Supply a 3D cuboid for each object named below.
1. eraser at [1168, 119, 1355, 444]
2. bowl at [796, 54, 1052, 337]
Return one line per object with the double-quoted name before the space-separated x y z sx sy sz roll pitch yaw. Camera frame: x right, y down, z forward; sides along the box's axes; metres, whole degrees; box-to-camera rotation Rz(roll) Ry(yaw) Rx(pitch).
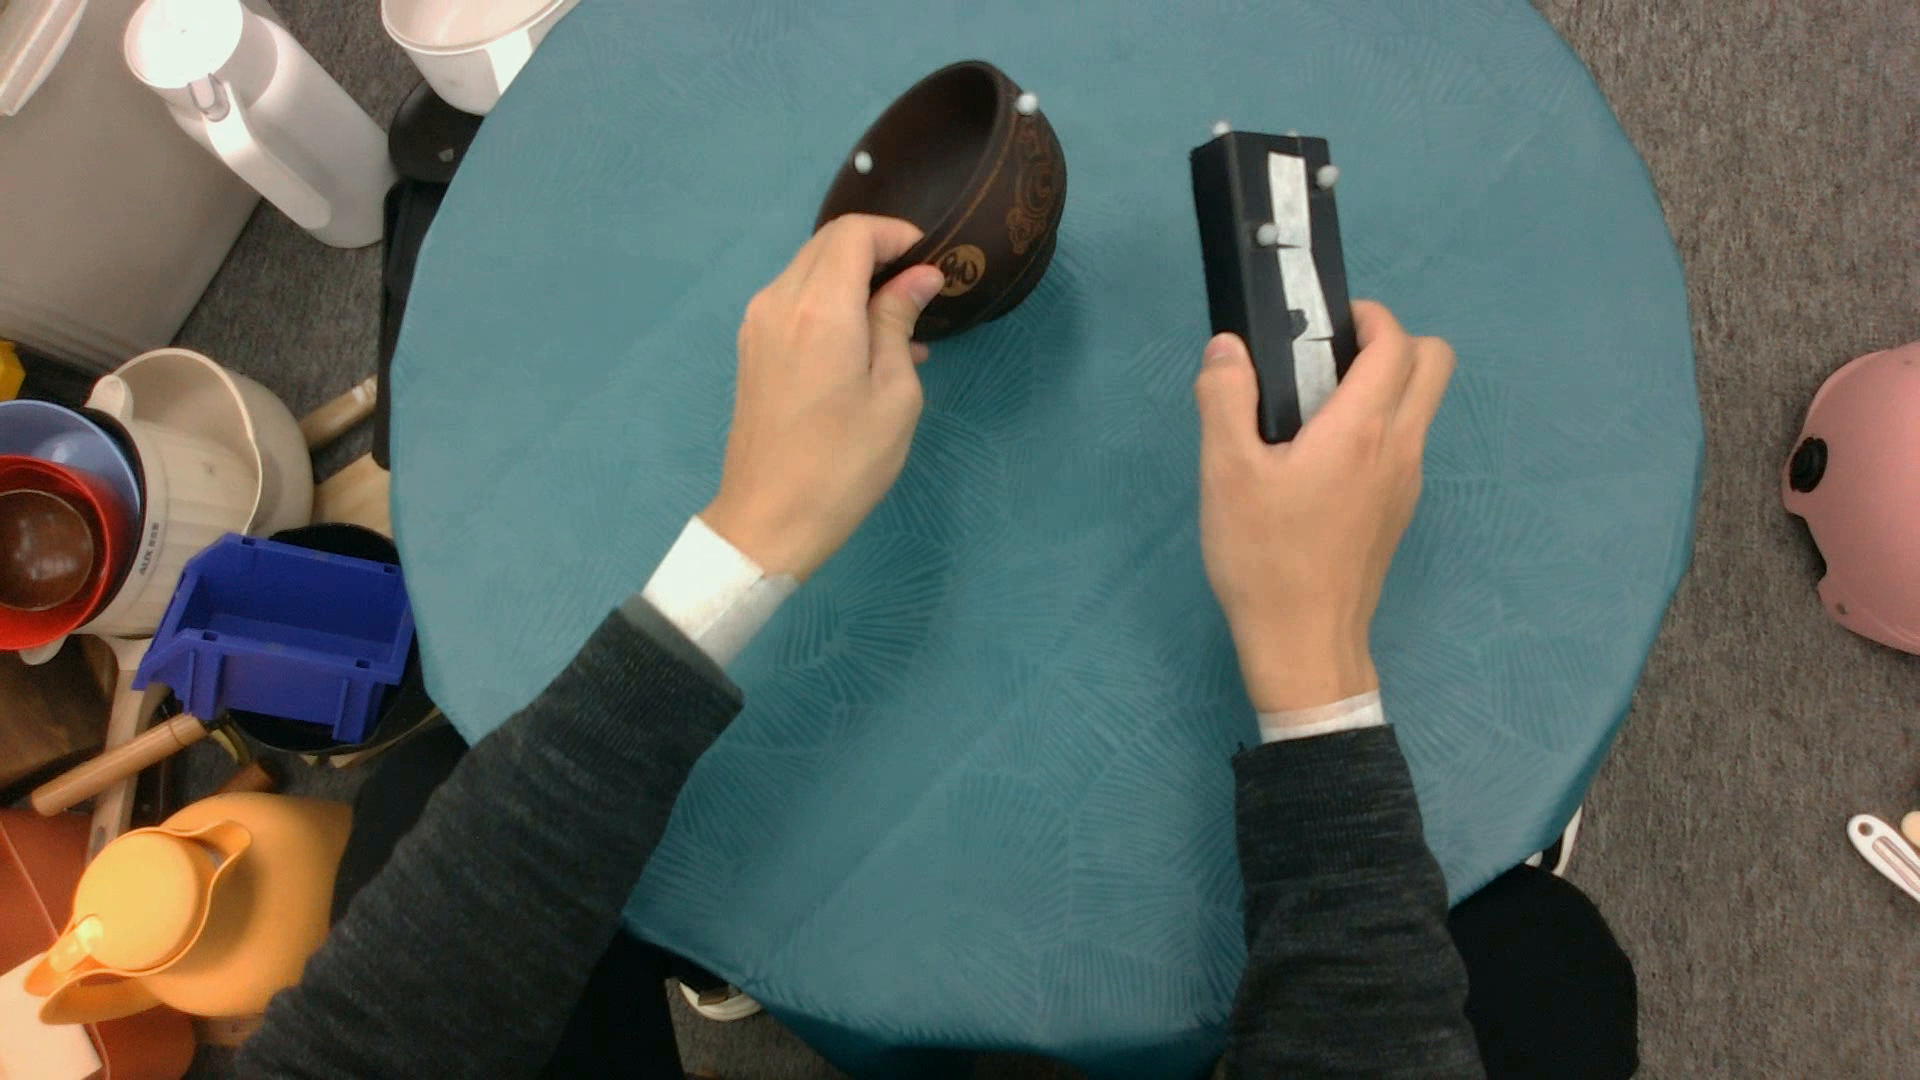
"eraser" 0.118 -0.101 0.542 0.053 0.030 0.125 -7 85 -23
"bowl" -0.008 -0.139 0.591 0.117 0.070 0.118 -31 43 35
